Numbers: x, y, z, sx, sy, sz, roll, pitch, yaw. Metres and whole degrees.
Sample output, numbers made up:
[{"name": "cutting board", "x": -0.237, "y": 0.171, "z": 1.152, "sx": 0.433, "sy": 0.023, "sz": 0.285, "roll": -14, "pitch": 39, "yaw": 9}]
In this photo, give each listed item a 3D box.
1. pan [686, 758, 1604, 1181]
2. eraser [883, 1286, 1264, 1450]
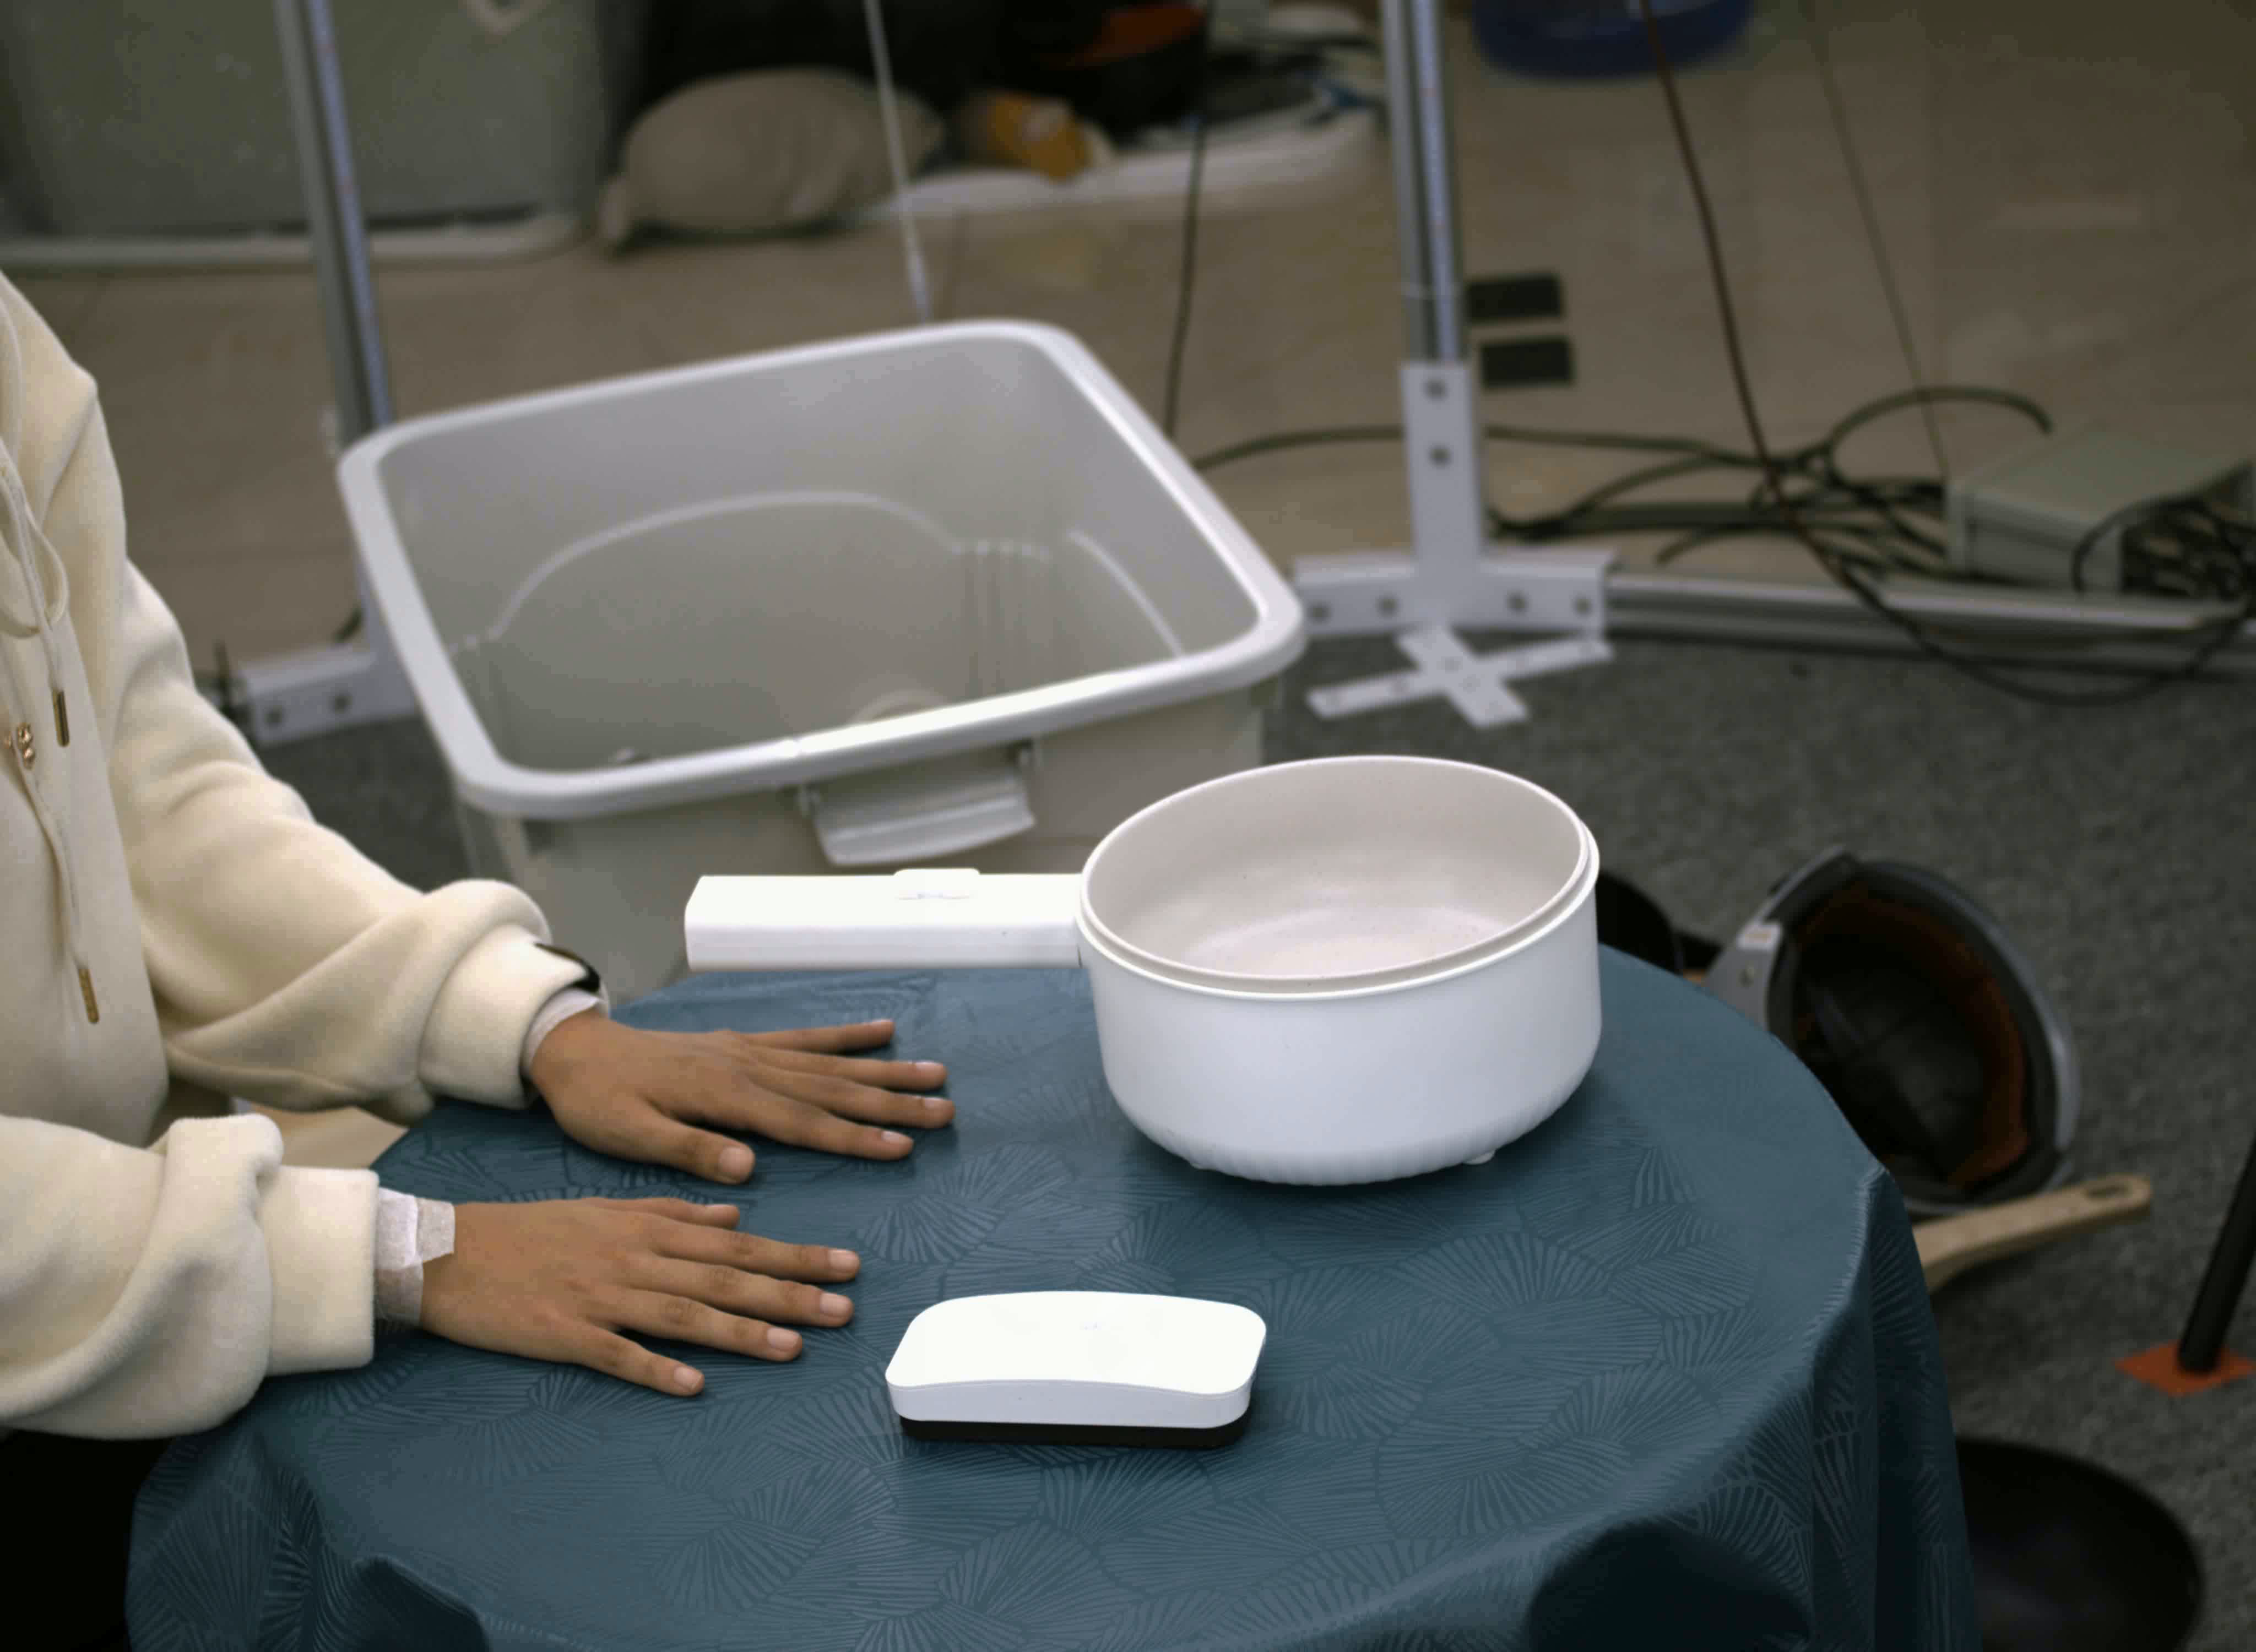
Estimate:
[{"name": "pan", "x": 0.009, "y": 0.064, "z": 2.190, "sx": 0.354, "sy": 0.103, "sz": 0.198, "roll": -4, "pitch": 24, "yaw": 11}, {"name": "eraser", "x": -0.019, "y": 0.192, "z": 2.003, "sx": 0.131, "sy": 0.035, "sz": 0.062, "roll": 1, "pitch": 23, "yaw": 14}]
